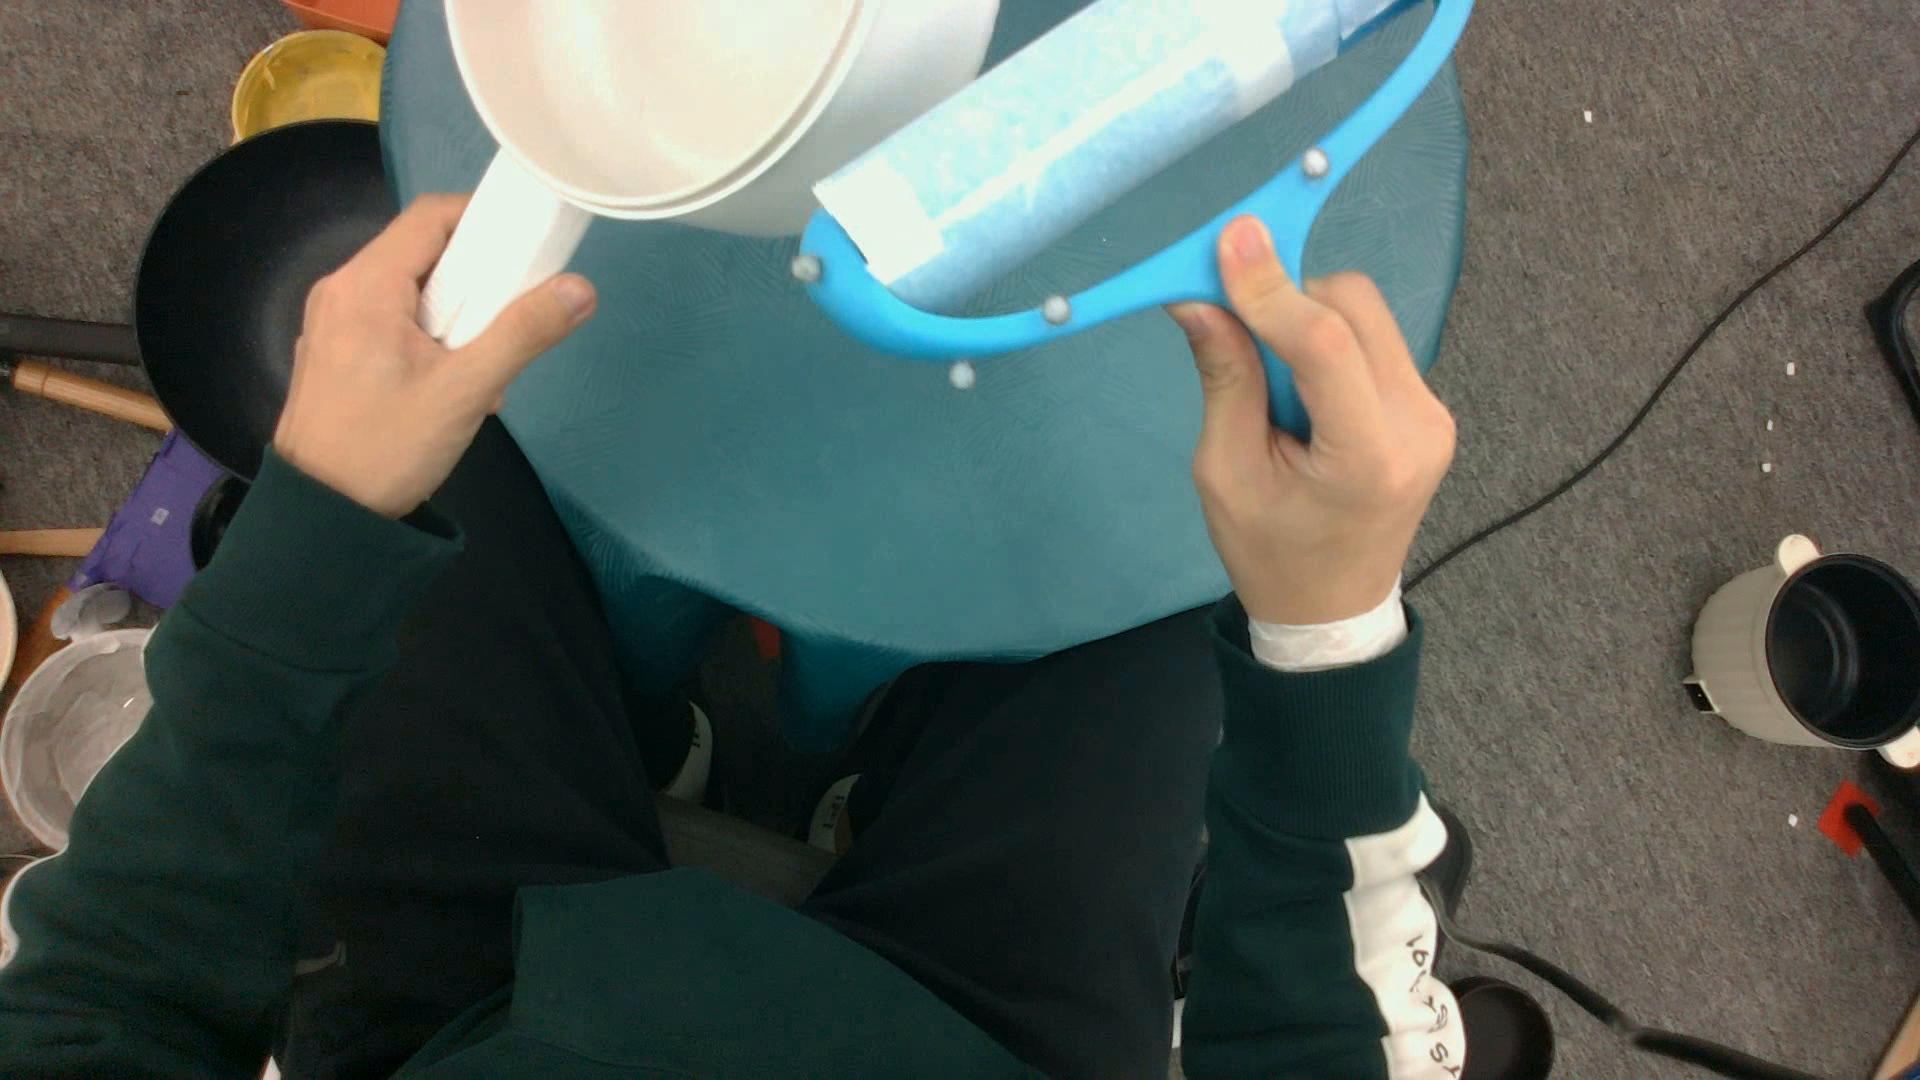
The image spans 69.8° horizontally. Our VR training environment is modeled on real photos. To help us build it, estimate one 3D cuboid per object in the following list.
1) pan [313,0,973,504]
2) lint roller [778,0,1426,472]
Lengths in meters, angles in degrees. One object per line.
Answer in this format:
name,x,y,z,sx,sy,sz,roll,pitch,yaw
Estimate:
pan,-0.134,-0.159,0.537,0.201,0.102,0.353,44,112,18
lint roller,0.077,-0.095,0.438,0.229,0.068,0.180,-39,105,-4
